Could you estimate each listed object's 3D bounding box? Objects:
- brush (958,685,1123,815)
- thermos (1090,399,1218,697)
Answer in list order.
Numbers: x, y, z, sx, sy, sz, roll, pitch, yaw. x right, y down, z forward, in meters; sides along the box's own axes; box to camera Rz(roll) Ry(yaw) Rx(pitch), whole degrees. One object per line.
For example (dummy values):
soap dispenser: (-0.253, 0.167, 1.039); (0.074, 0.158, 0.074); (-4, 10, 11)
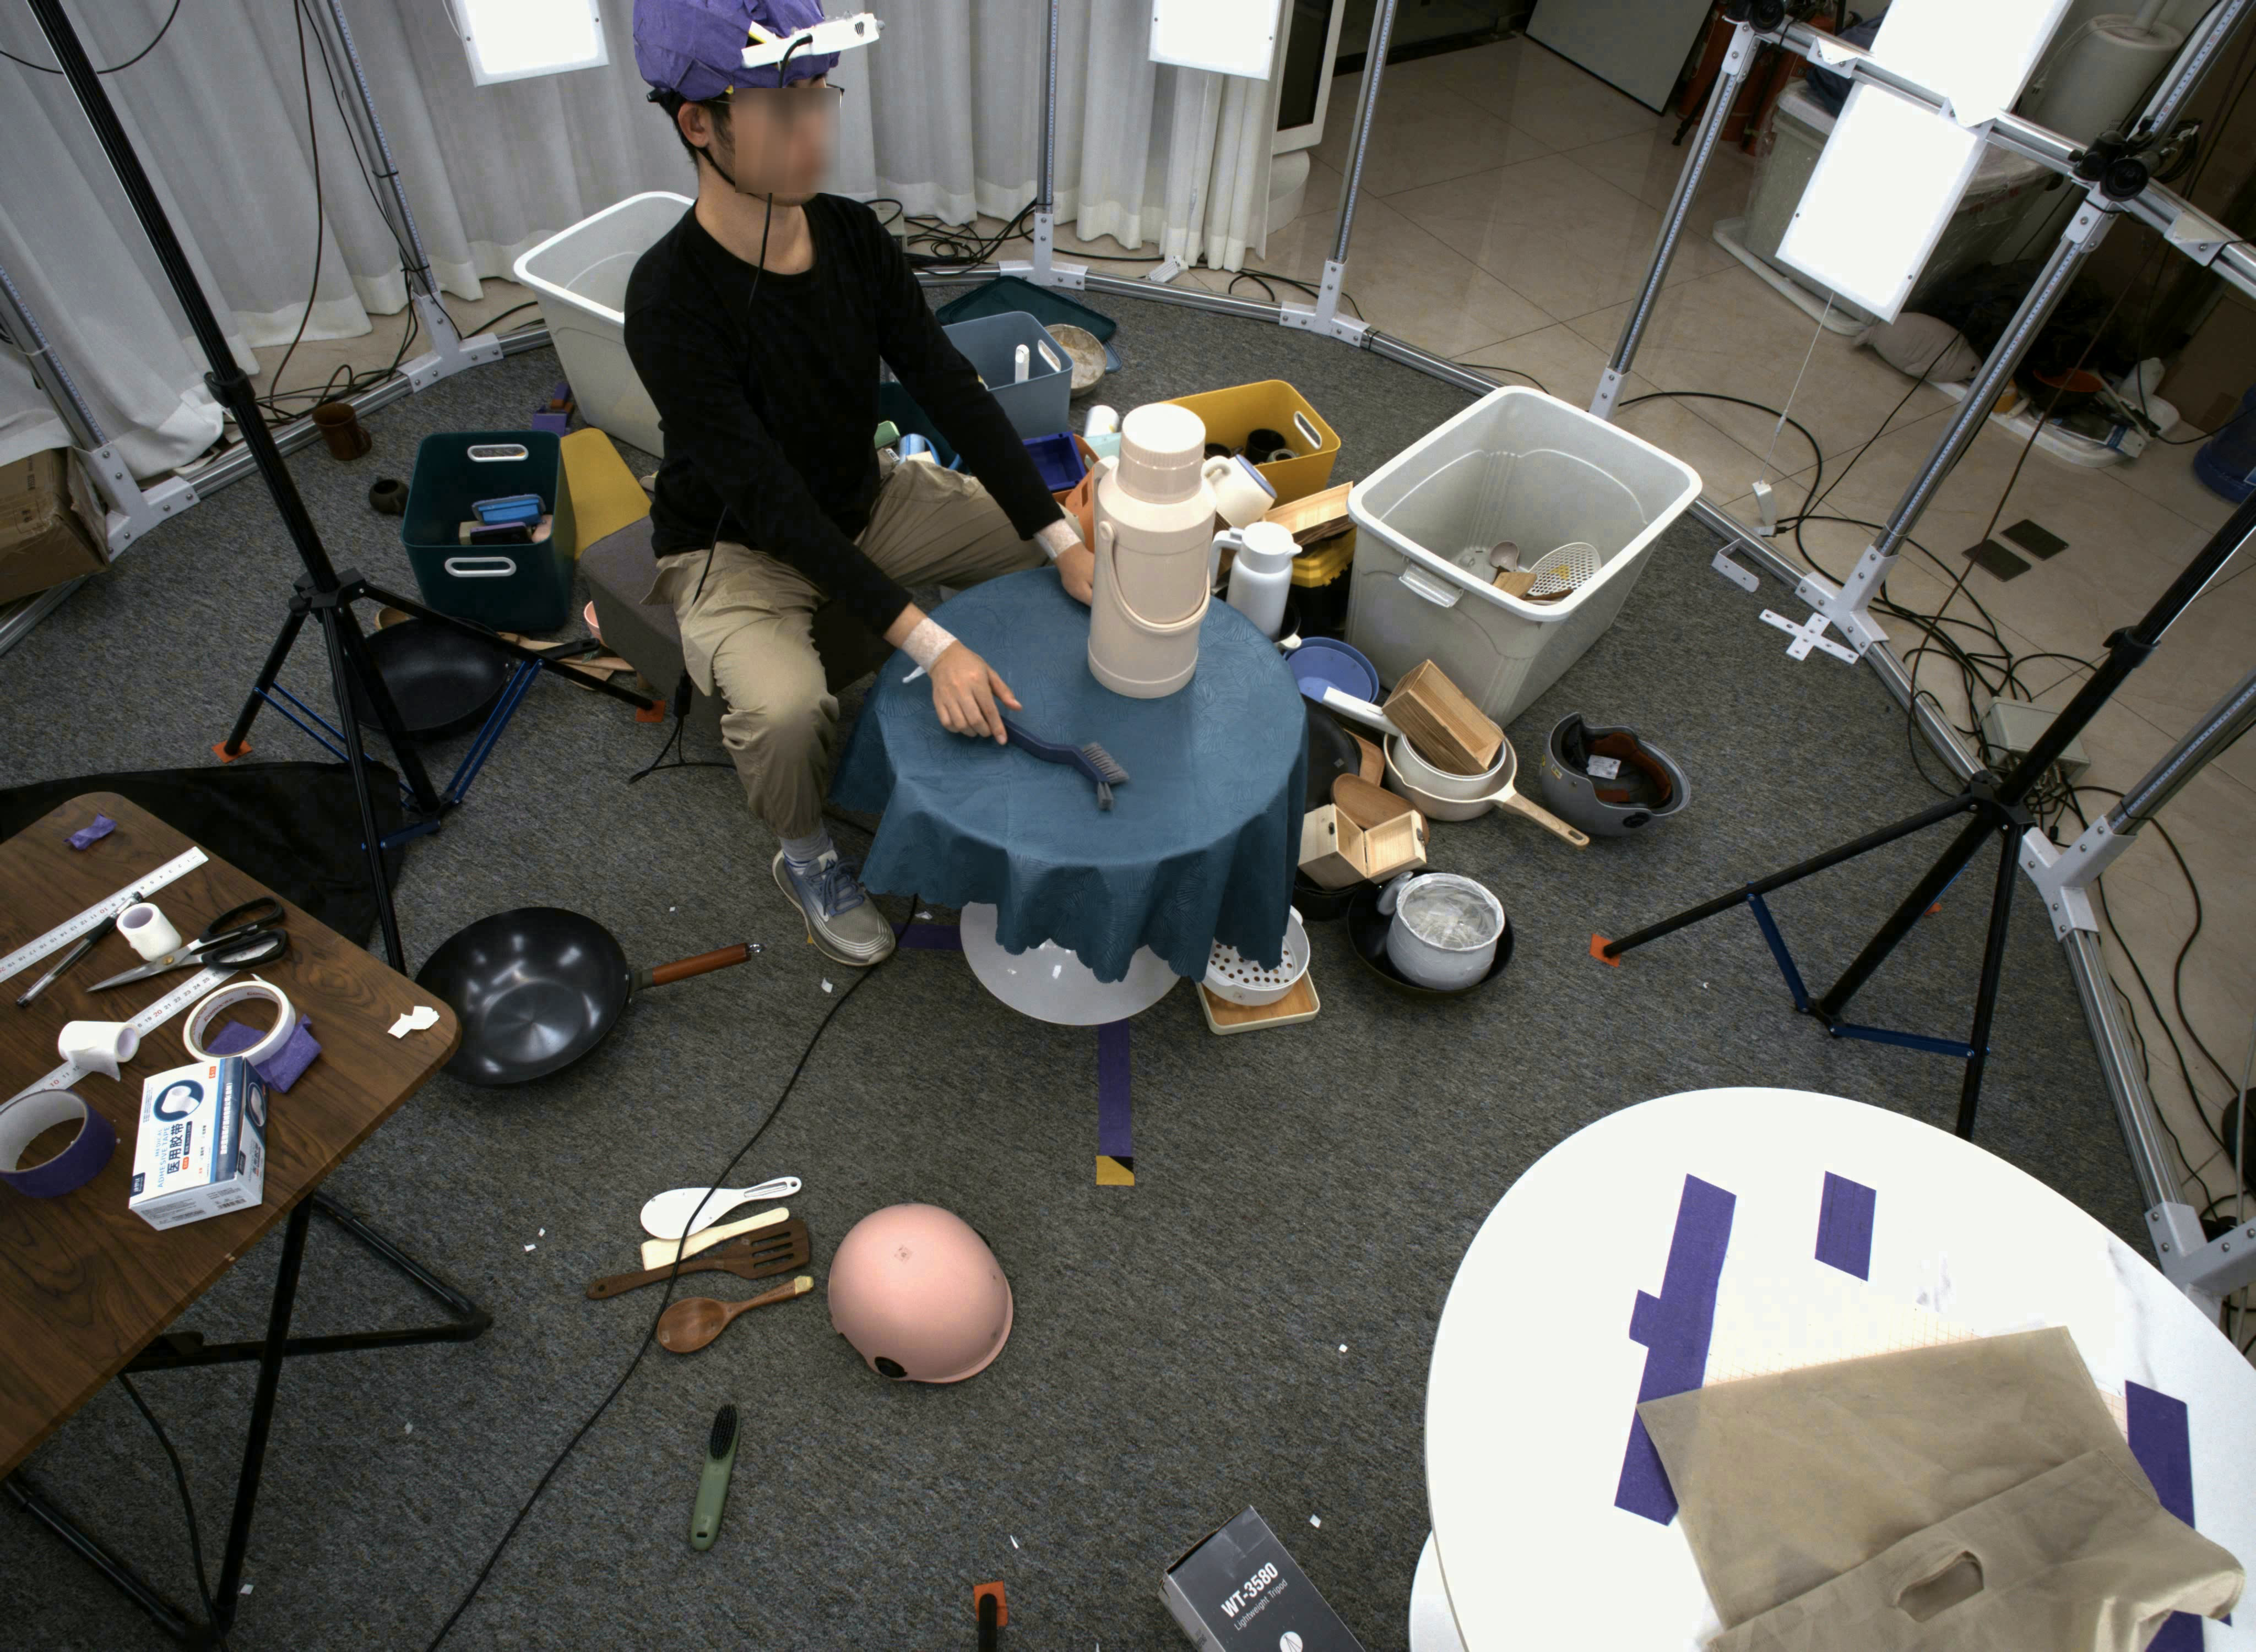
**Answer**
brush: (-0.131, -0.108, 1.733); (0.275, 0.033, 0.097); (26, 51, 15)
thermos: (0.026, -0.378, 1.744); (0.176, 0.396, 0.210); (-31, 59, -25)
